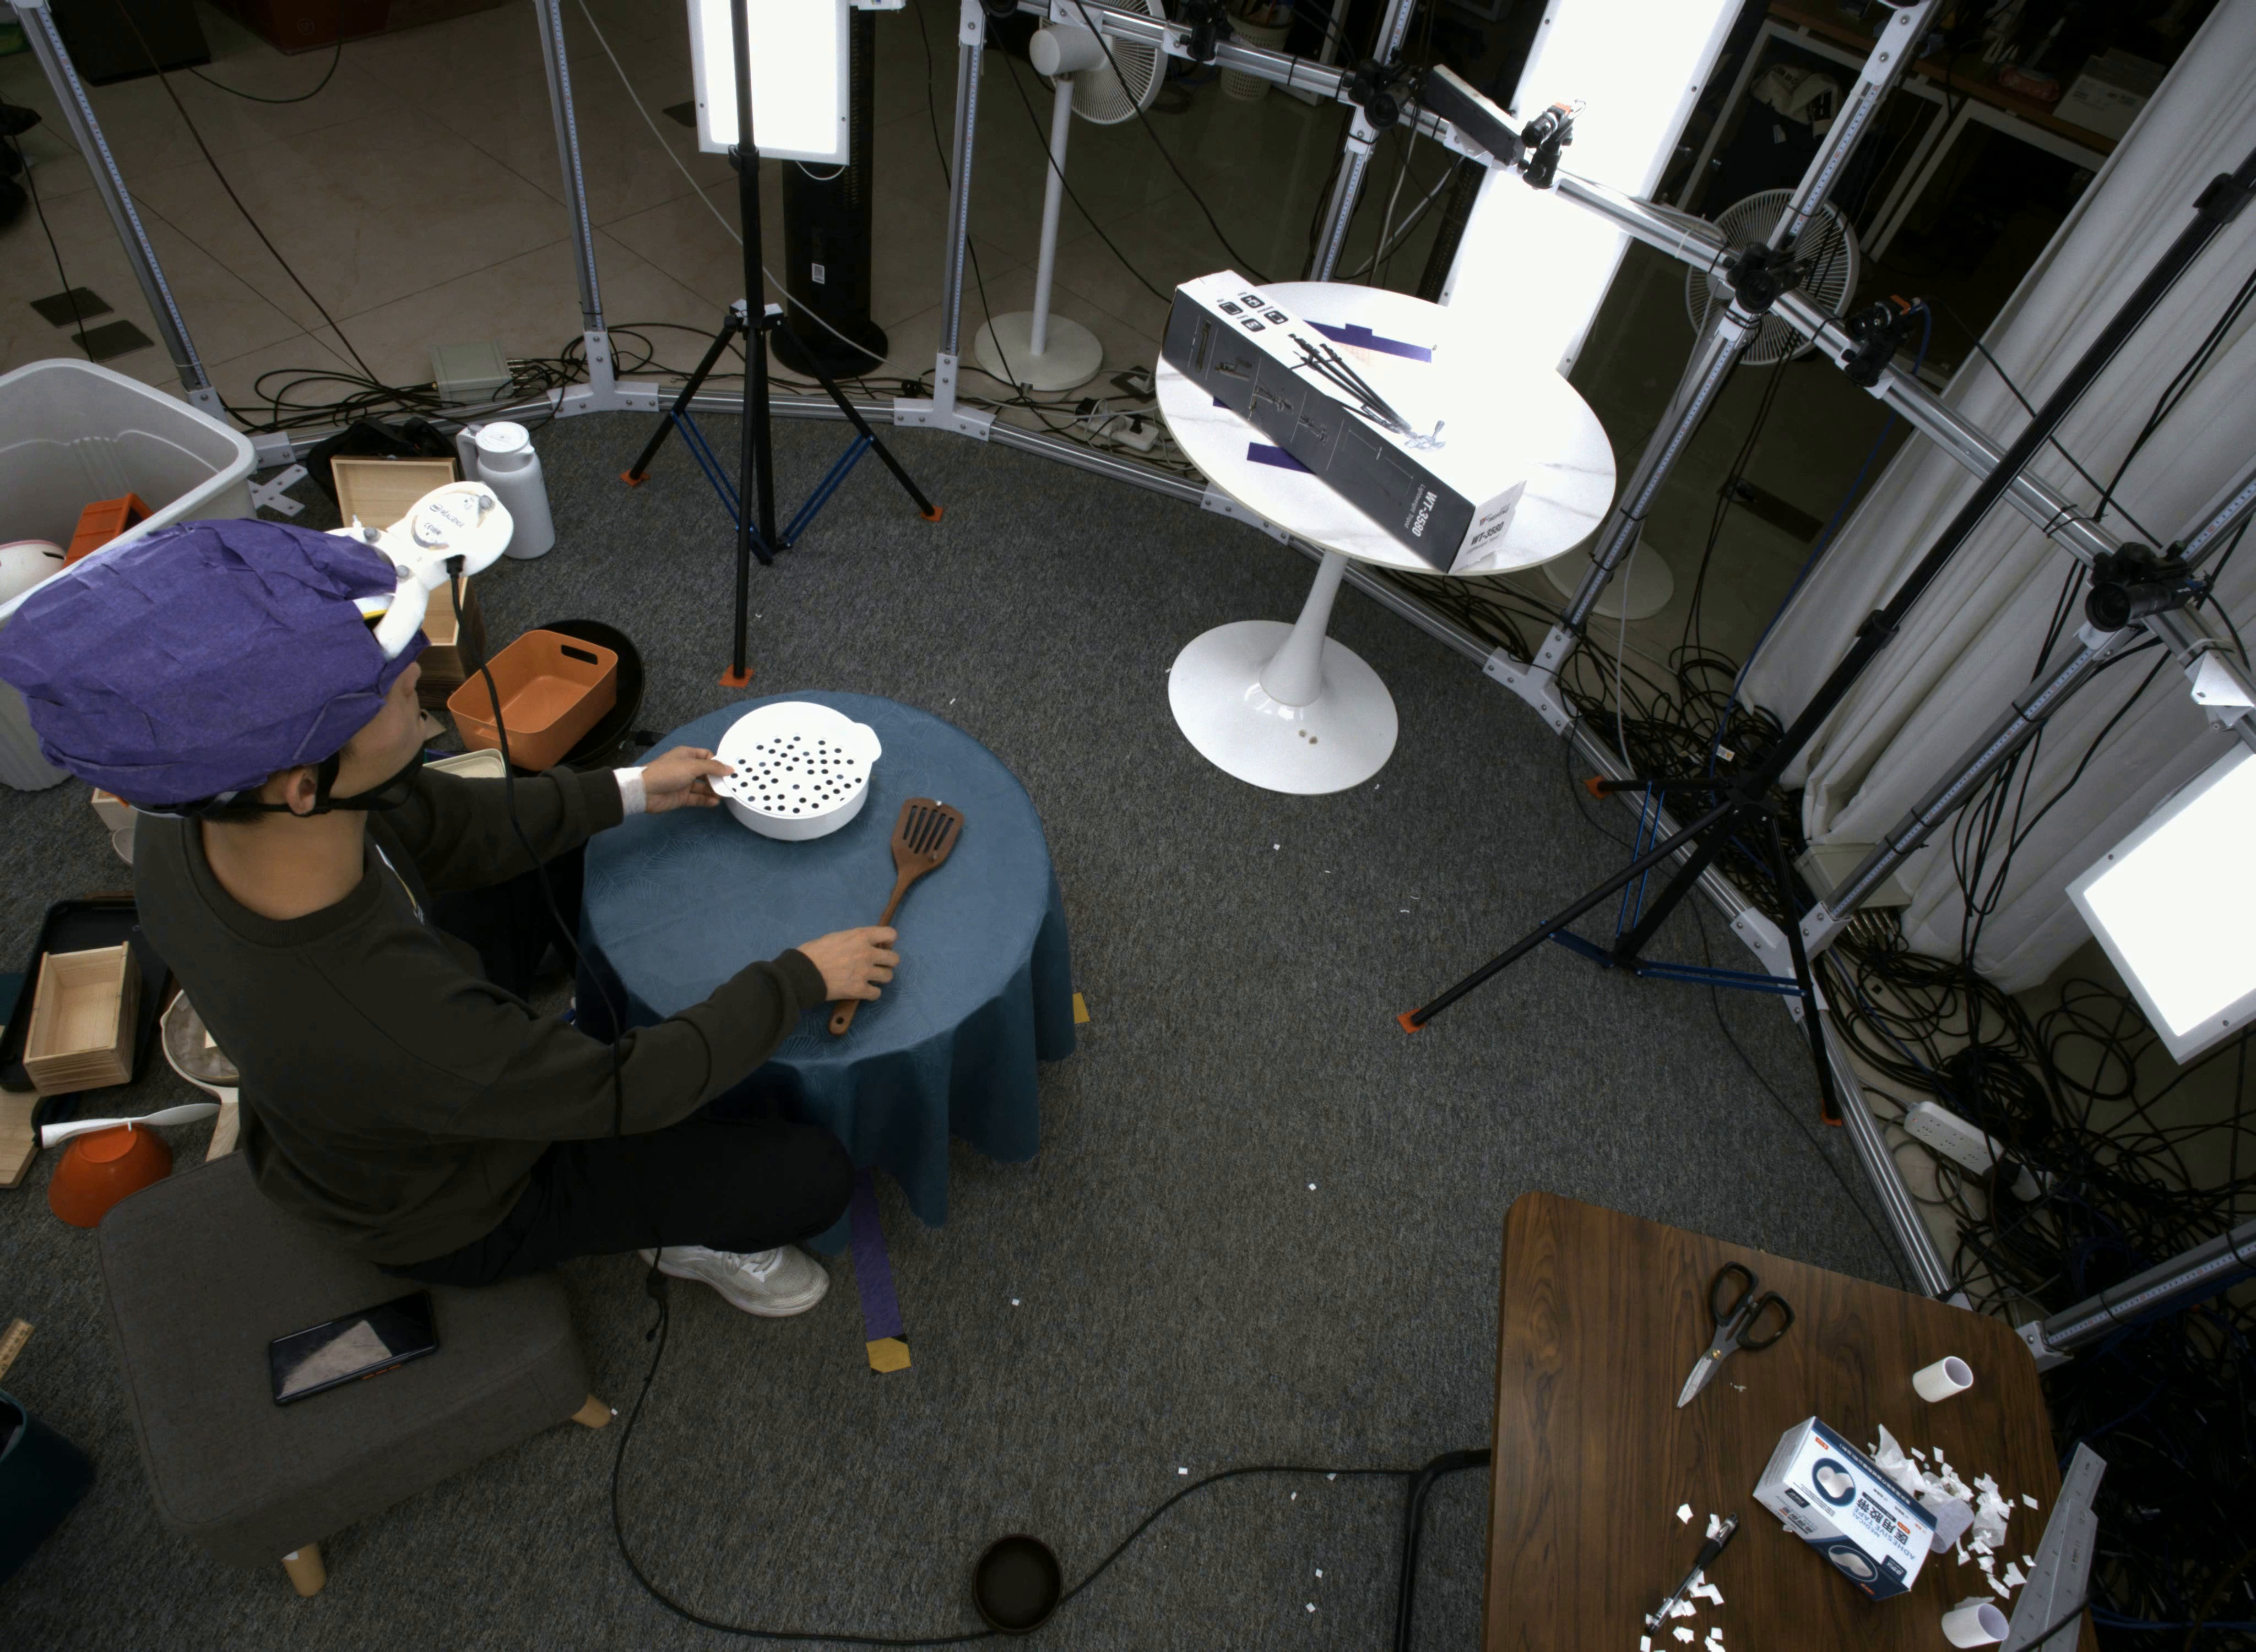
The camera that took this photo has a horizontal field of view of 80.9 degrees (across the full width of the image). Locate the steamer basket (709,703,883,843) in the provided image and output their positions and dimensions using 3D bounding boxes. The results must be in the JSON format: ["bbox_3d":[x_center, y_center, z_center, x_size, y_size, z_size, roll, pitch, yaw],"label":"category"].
[{"bbox_3d":[-0.442,-0.071,1.743,0.231,0.071,0.196,-18,58,-22],"label":"steamer basket"}]

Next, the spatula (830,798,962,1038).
[{"bbox_3d":[-0.304,0.109,1.661,0.085,0.024,0.380,18,48,-2],"label":"spatula"}]
